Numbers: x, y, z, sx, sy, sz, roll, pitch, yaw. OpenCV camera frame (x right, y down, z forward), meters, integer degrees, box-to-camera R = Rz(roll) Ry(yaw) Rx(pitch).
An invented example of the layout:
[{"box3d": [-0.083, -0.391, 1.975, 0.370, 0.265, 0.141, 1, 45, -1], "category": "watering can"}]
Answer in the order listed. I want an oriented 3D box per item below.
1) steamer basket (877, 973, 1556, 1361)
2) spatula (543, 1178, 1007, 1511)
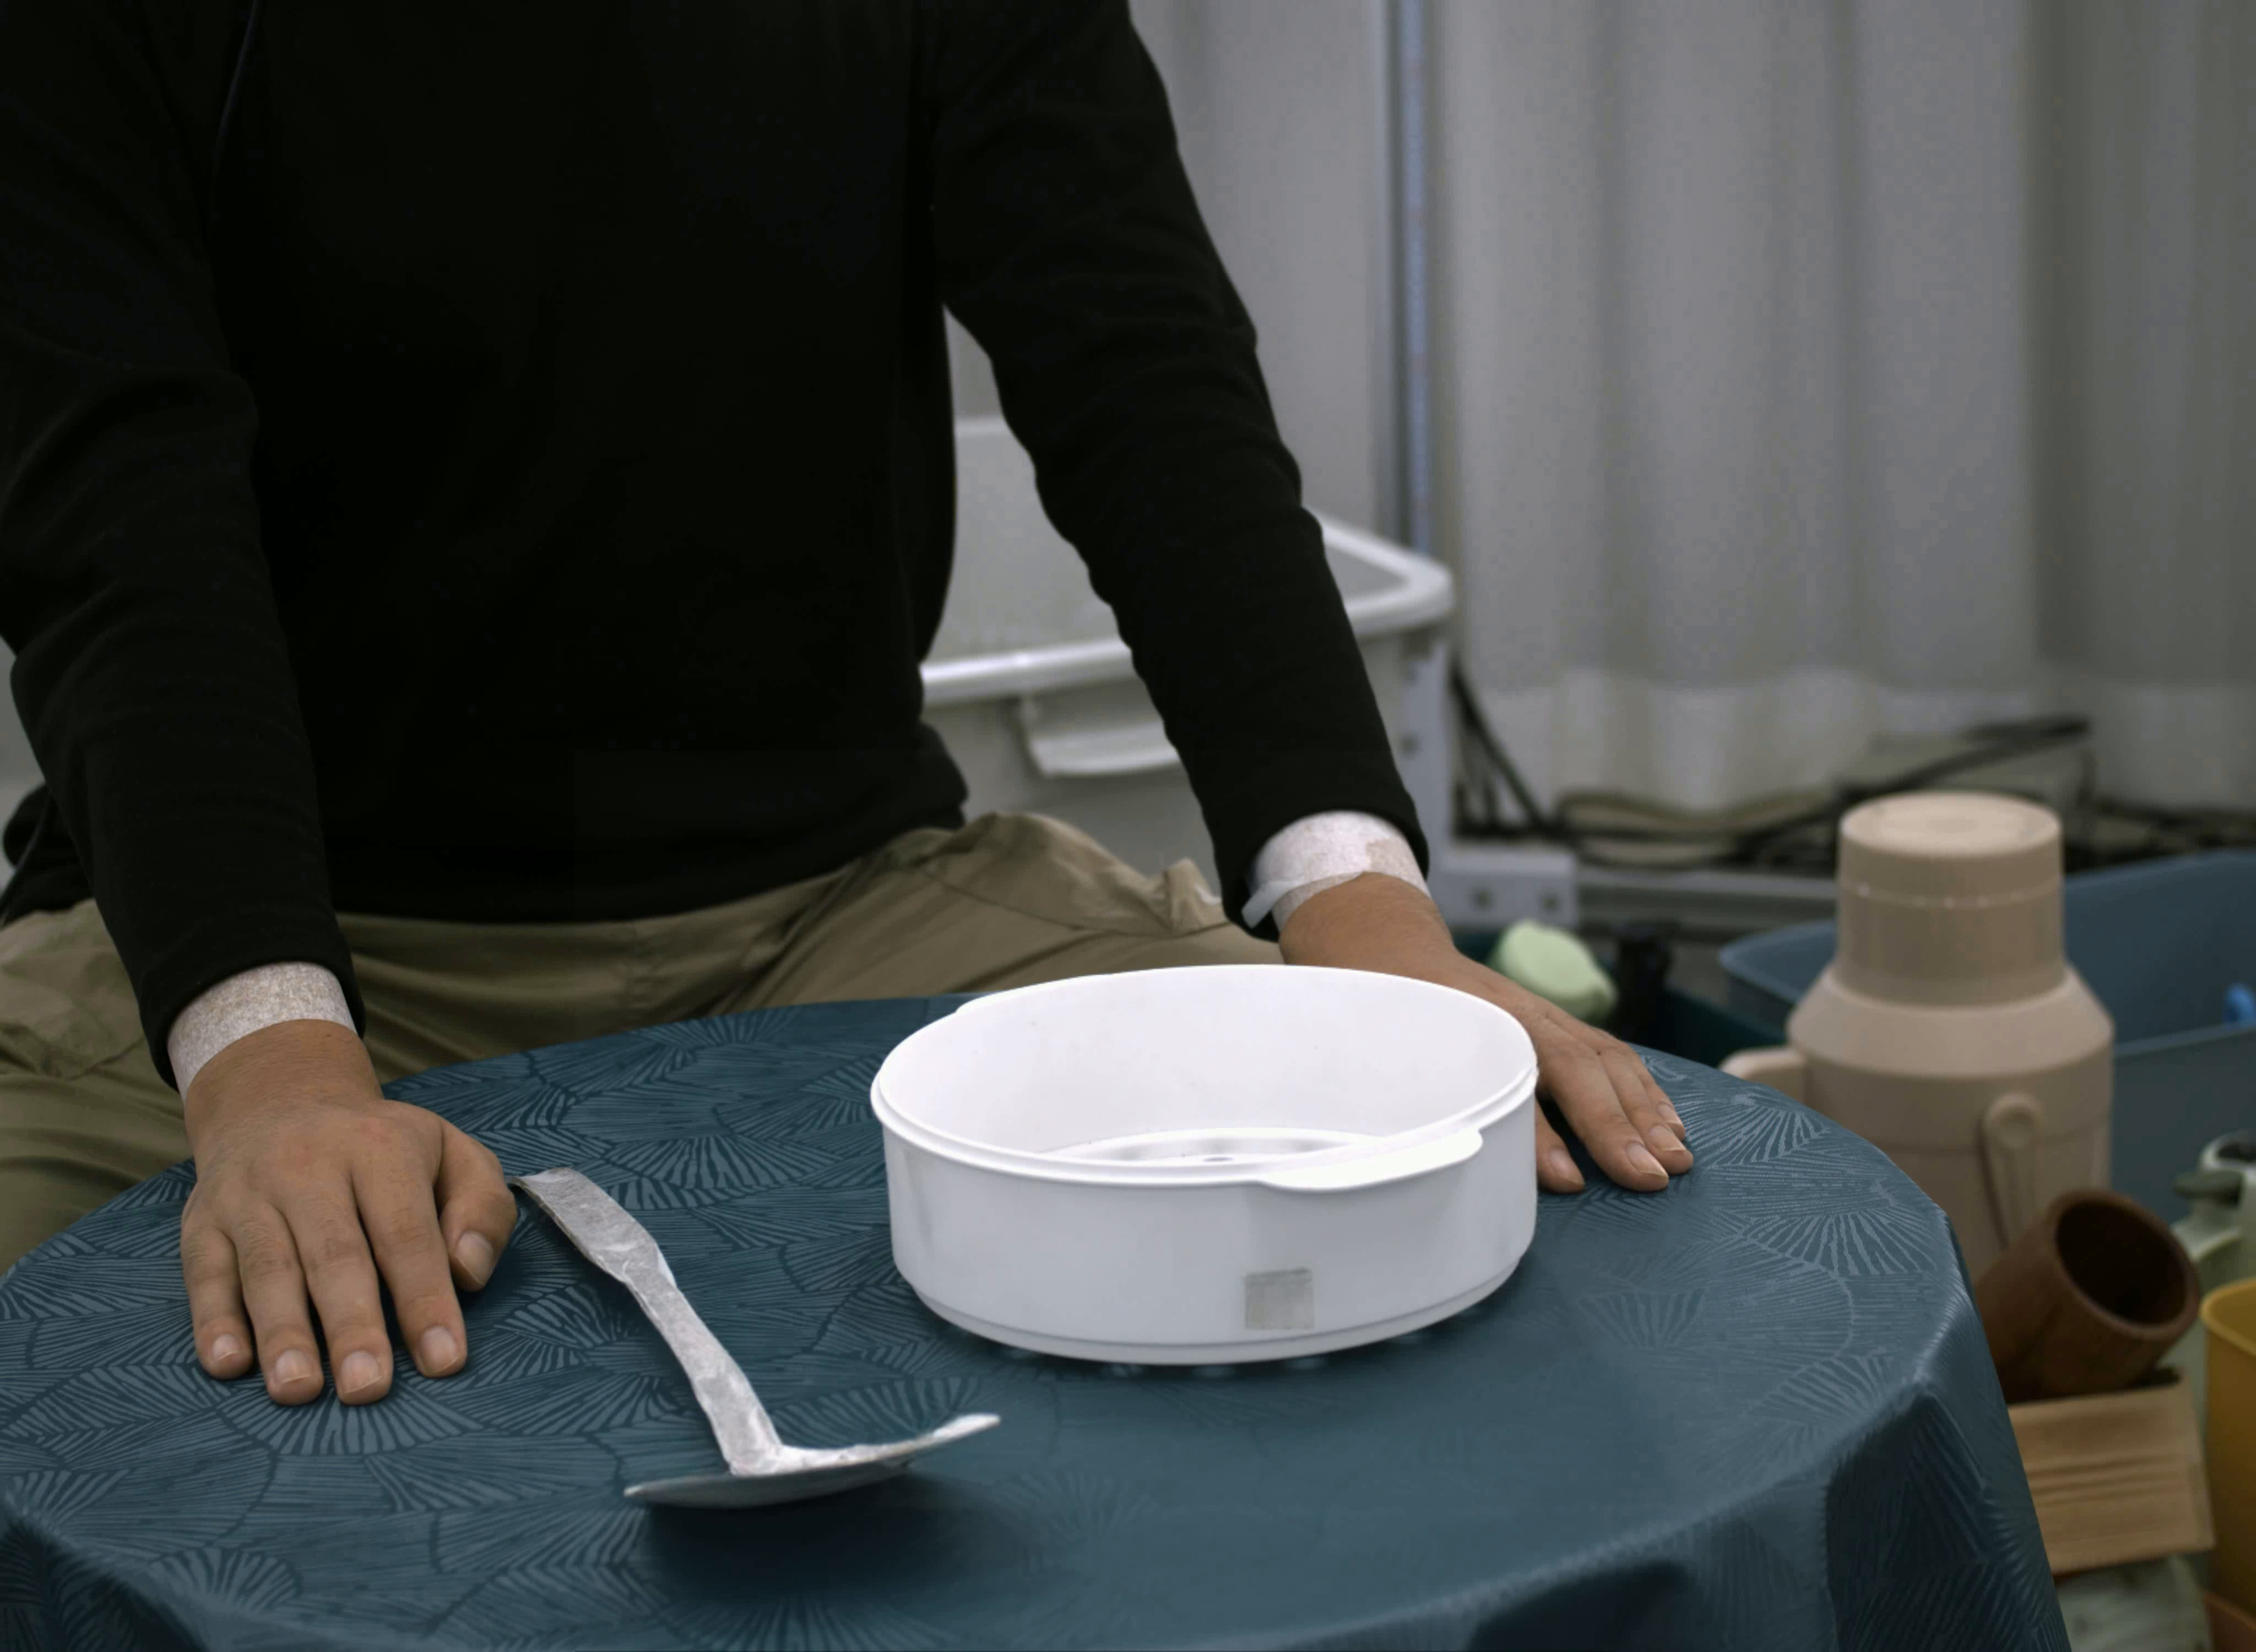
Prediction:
[{"box3d": [0.027, 0.101, 1.625, 0.201, 0.069, 0.232, -9, 15, -26], "category": "steamer basket"}, {"box3d": [-0.126, 0.139, 1.573, 0.098, 0.044, 0.368, -10, 16, -16], "category": "spatula"}]
